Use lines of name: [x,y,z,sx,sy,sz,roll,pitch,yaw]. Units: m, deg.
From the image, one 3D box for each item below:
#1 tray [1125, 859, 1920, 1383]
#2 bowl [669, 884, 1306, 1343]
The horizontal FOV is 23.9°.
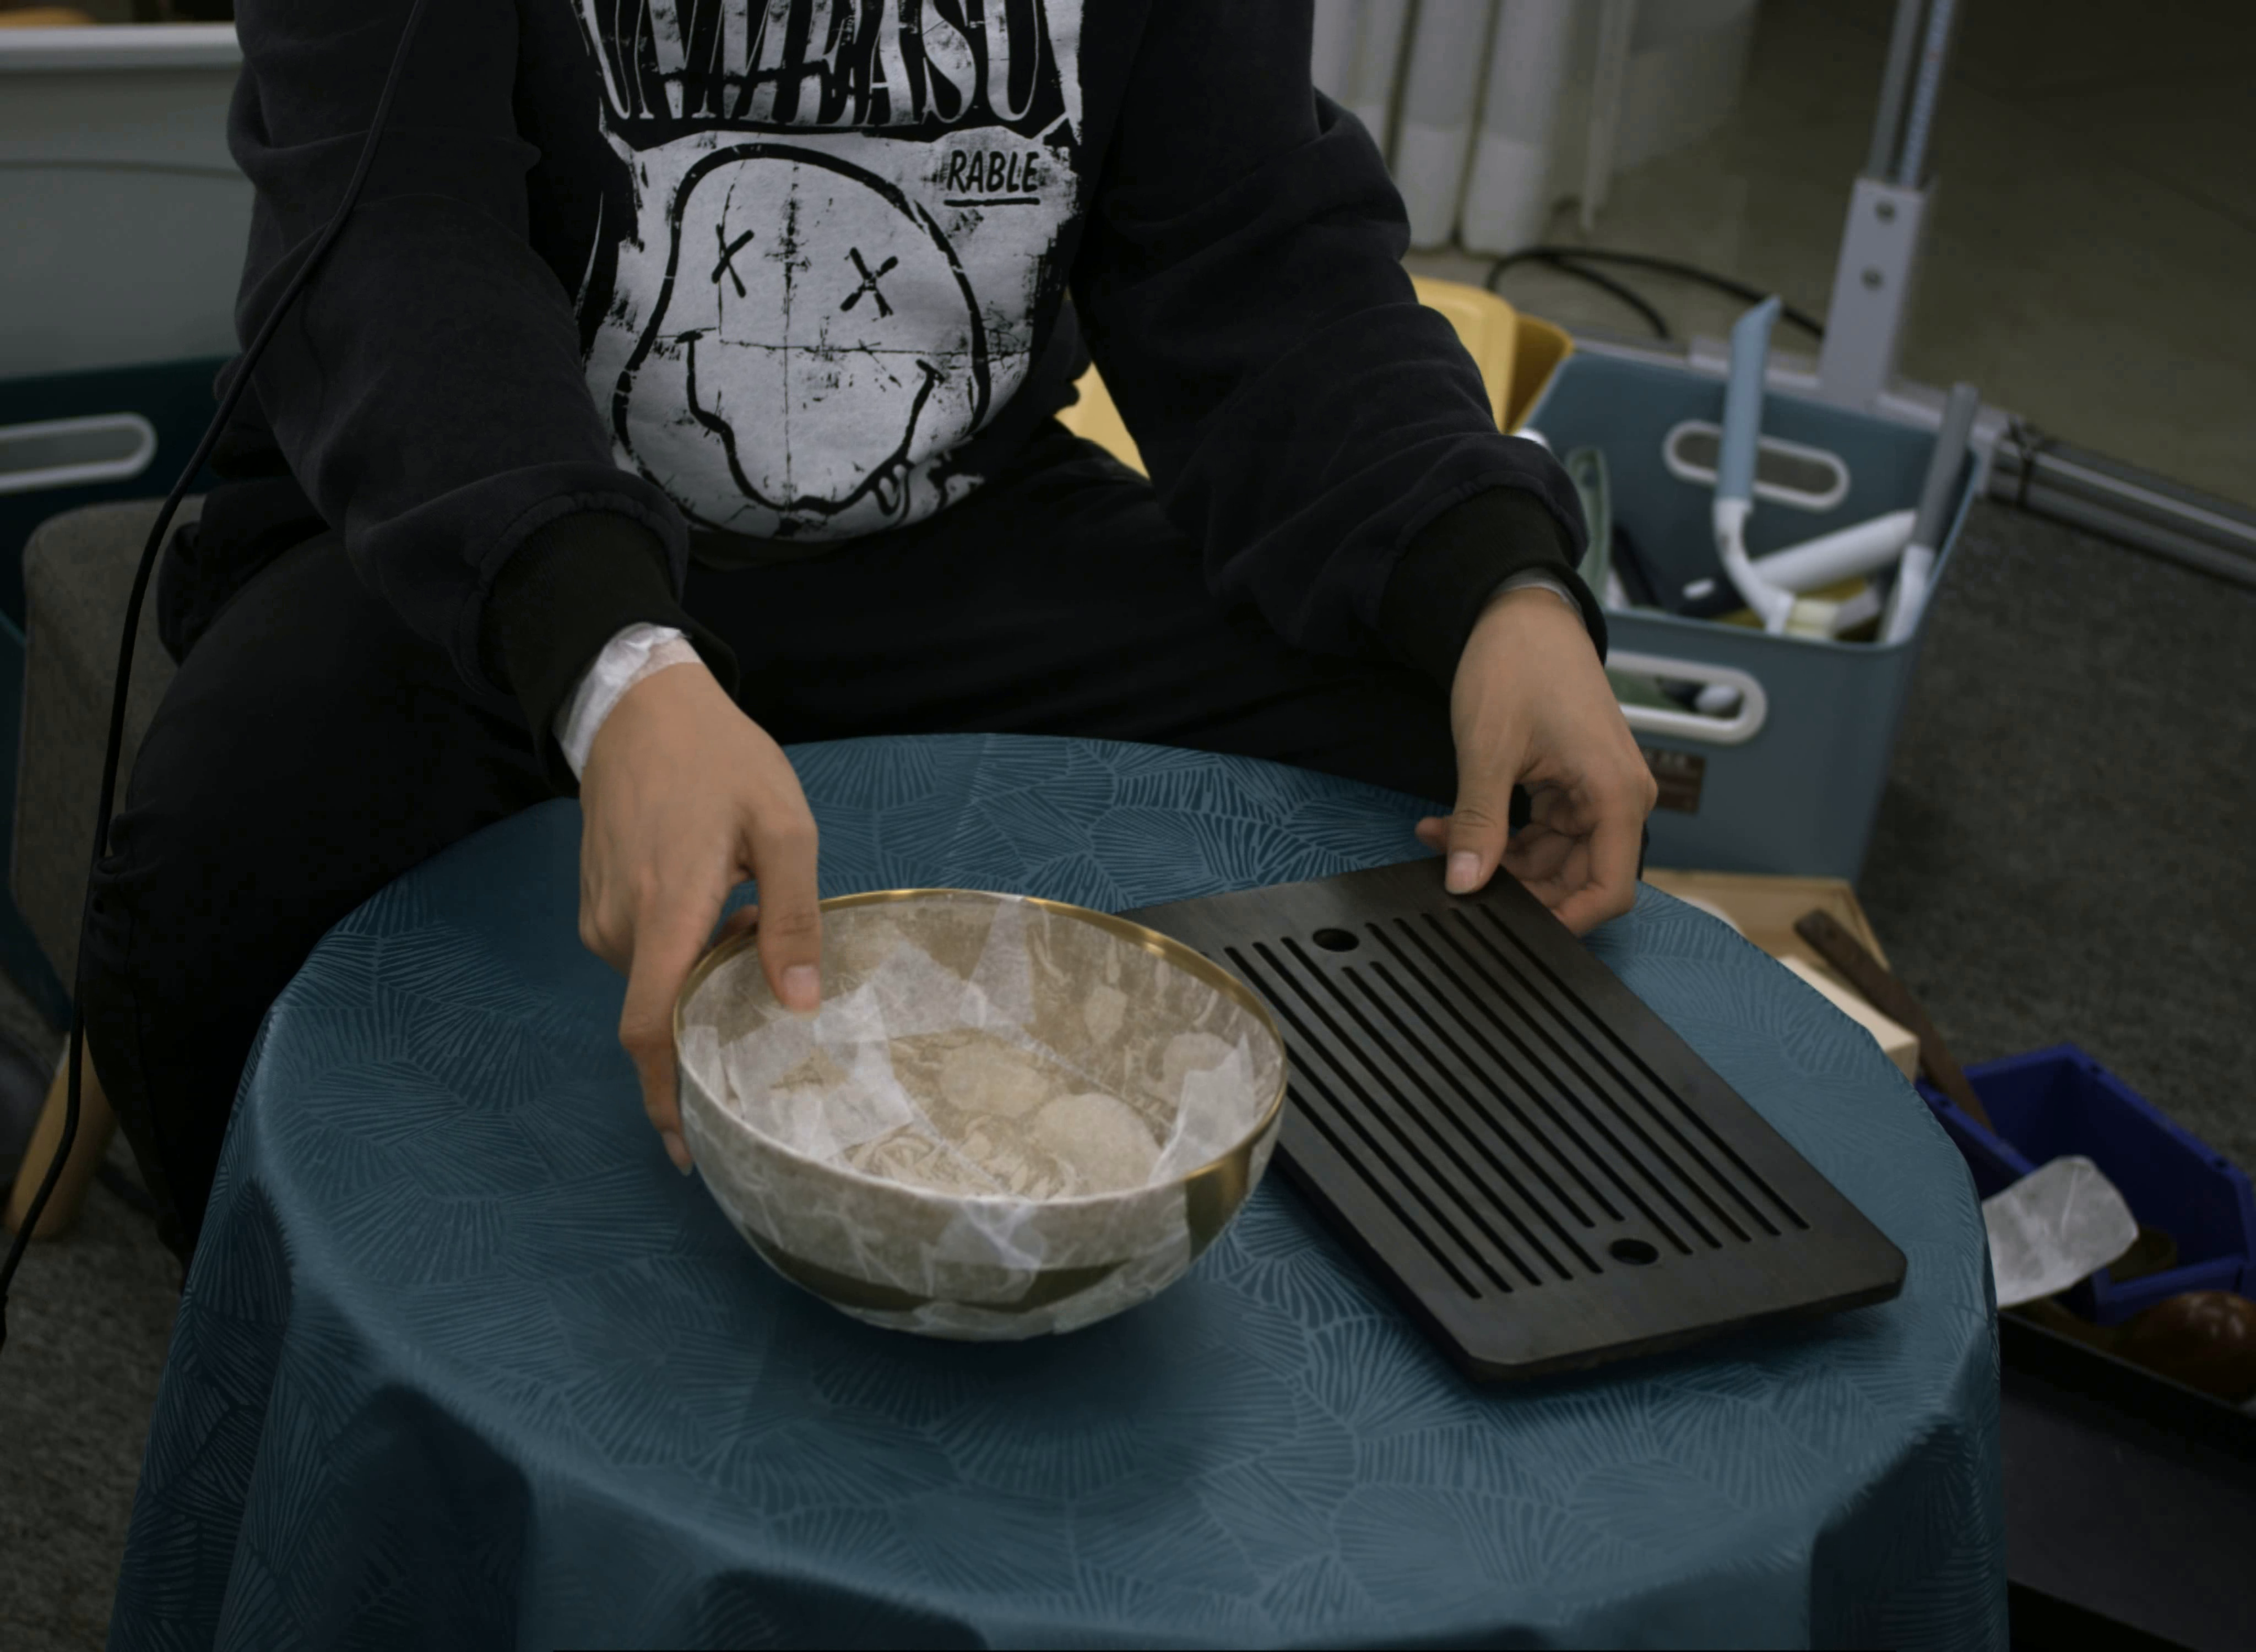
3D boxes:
tray: [0.126,0.099,1.850,0.169,0.018,0.309,-9,31,-24]
bowl: [-0.048,0.105,1.724,0.214,0.094,0.216,4,27,-2]
